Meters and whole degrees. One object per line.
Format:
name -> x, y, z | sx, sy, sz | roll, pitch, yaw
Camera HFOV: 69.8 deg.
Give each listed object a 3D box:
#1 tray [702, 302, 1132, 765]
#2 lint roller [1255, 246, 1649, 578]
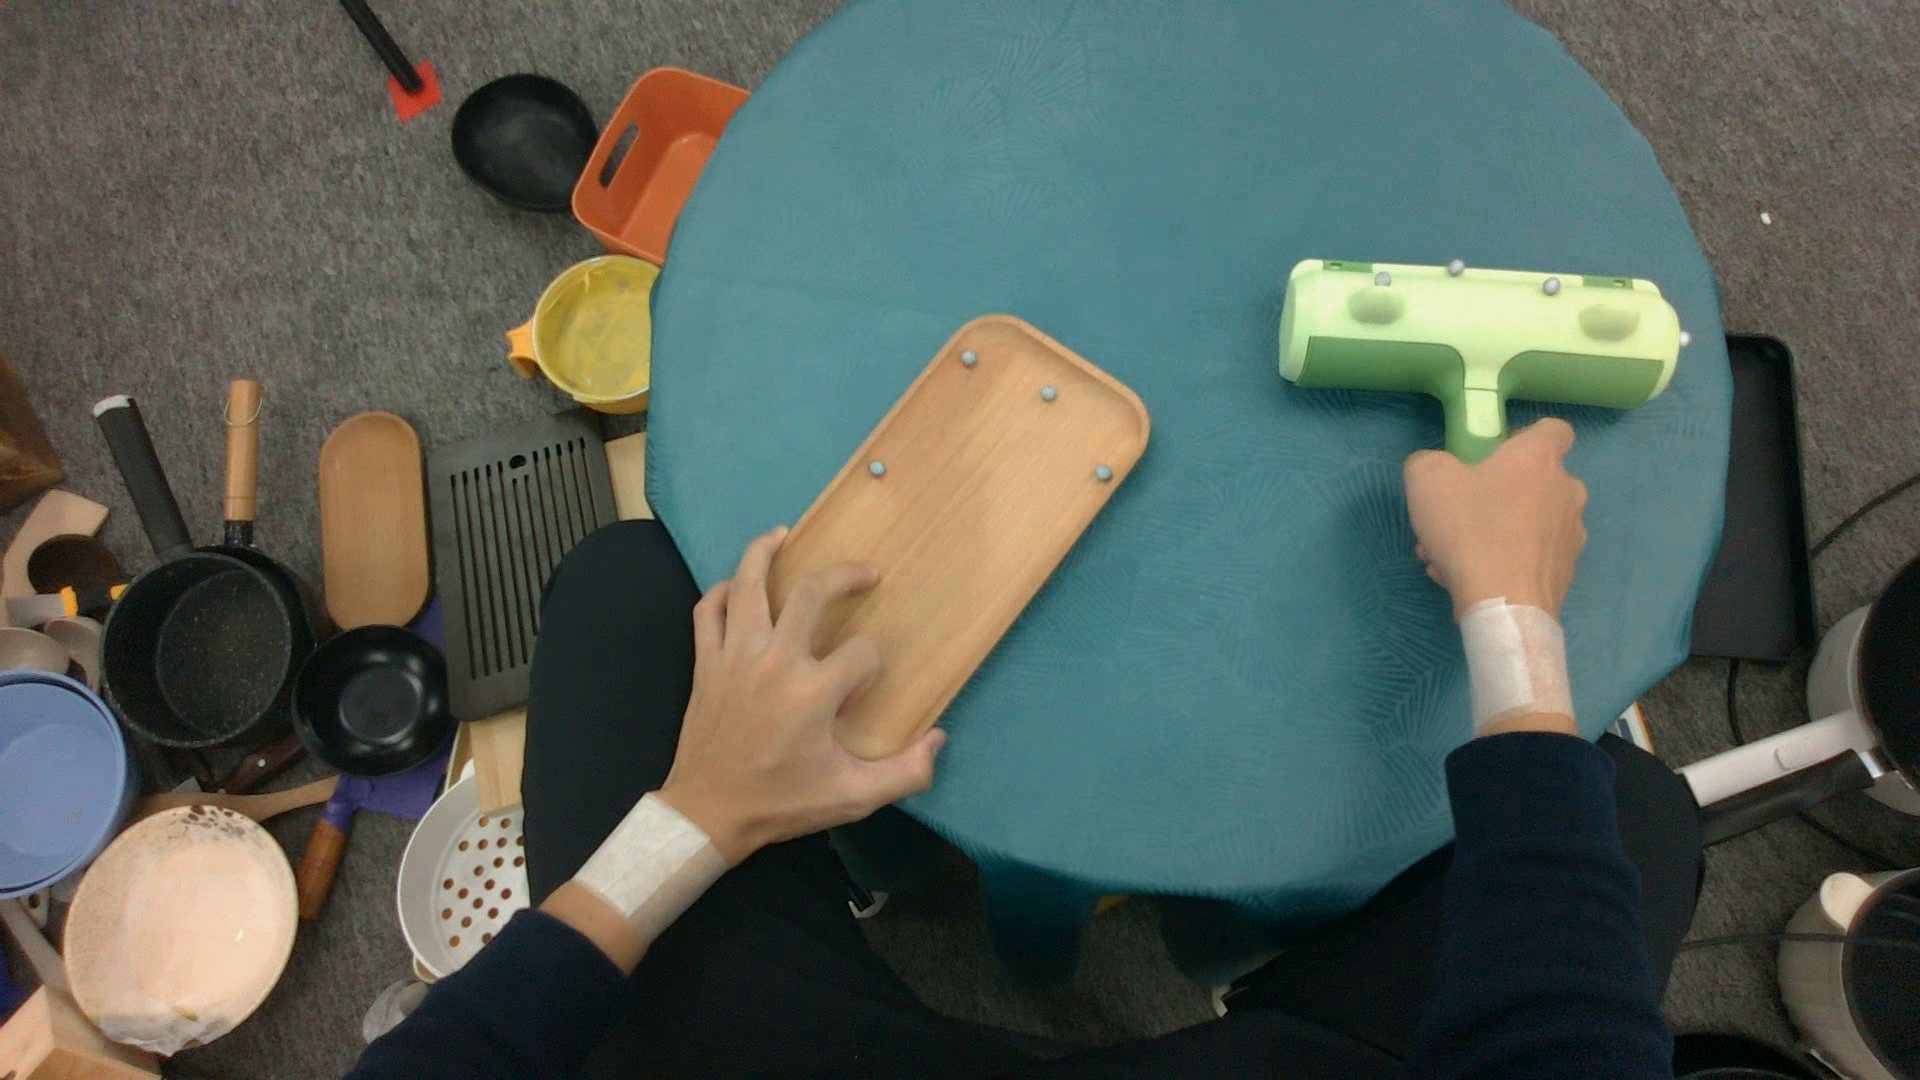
tray -> -0.021, -0.008, 0.728 | 0.130, 0.023, 0.251 | 33, 78, 18
lint roller -> 0.256, -0.077, 0.697 | 0.198, 0.082, 0.184 | 2, 58, 1
